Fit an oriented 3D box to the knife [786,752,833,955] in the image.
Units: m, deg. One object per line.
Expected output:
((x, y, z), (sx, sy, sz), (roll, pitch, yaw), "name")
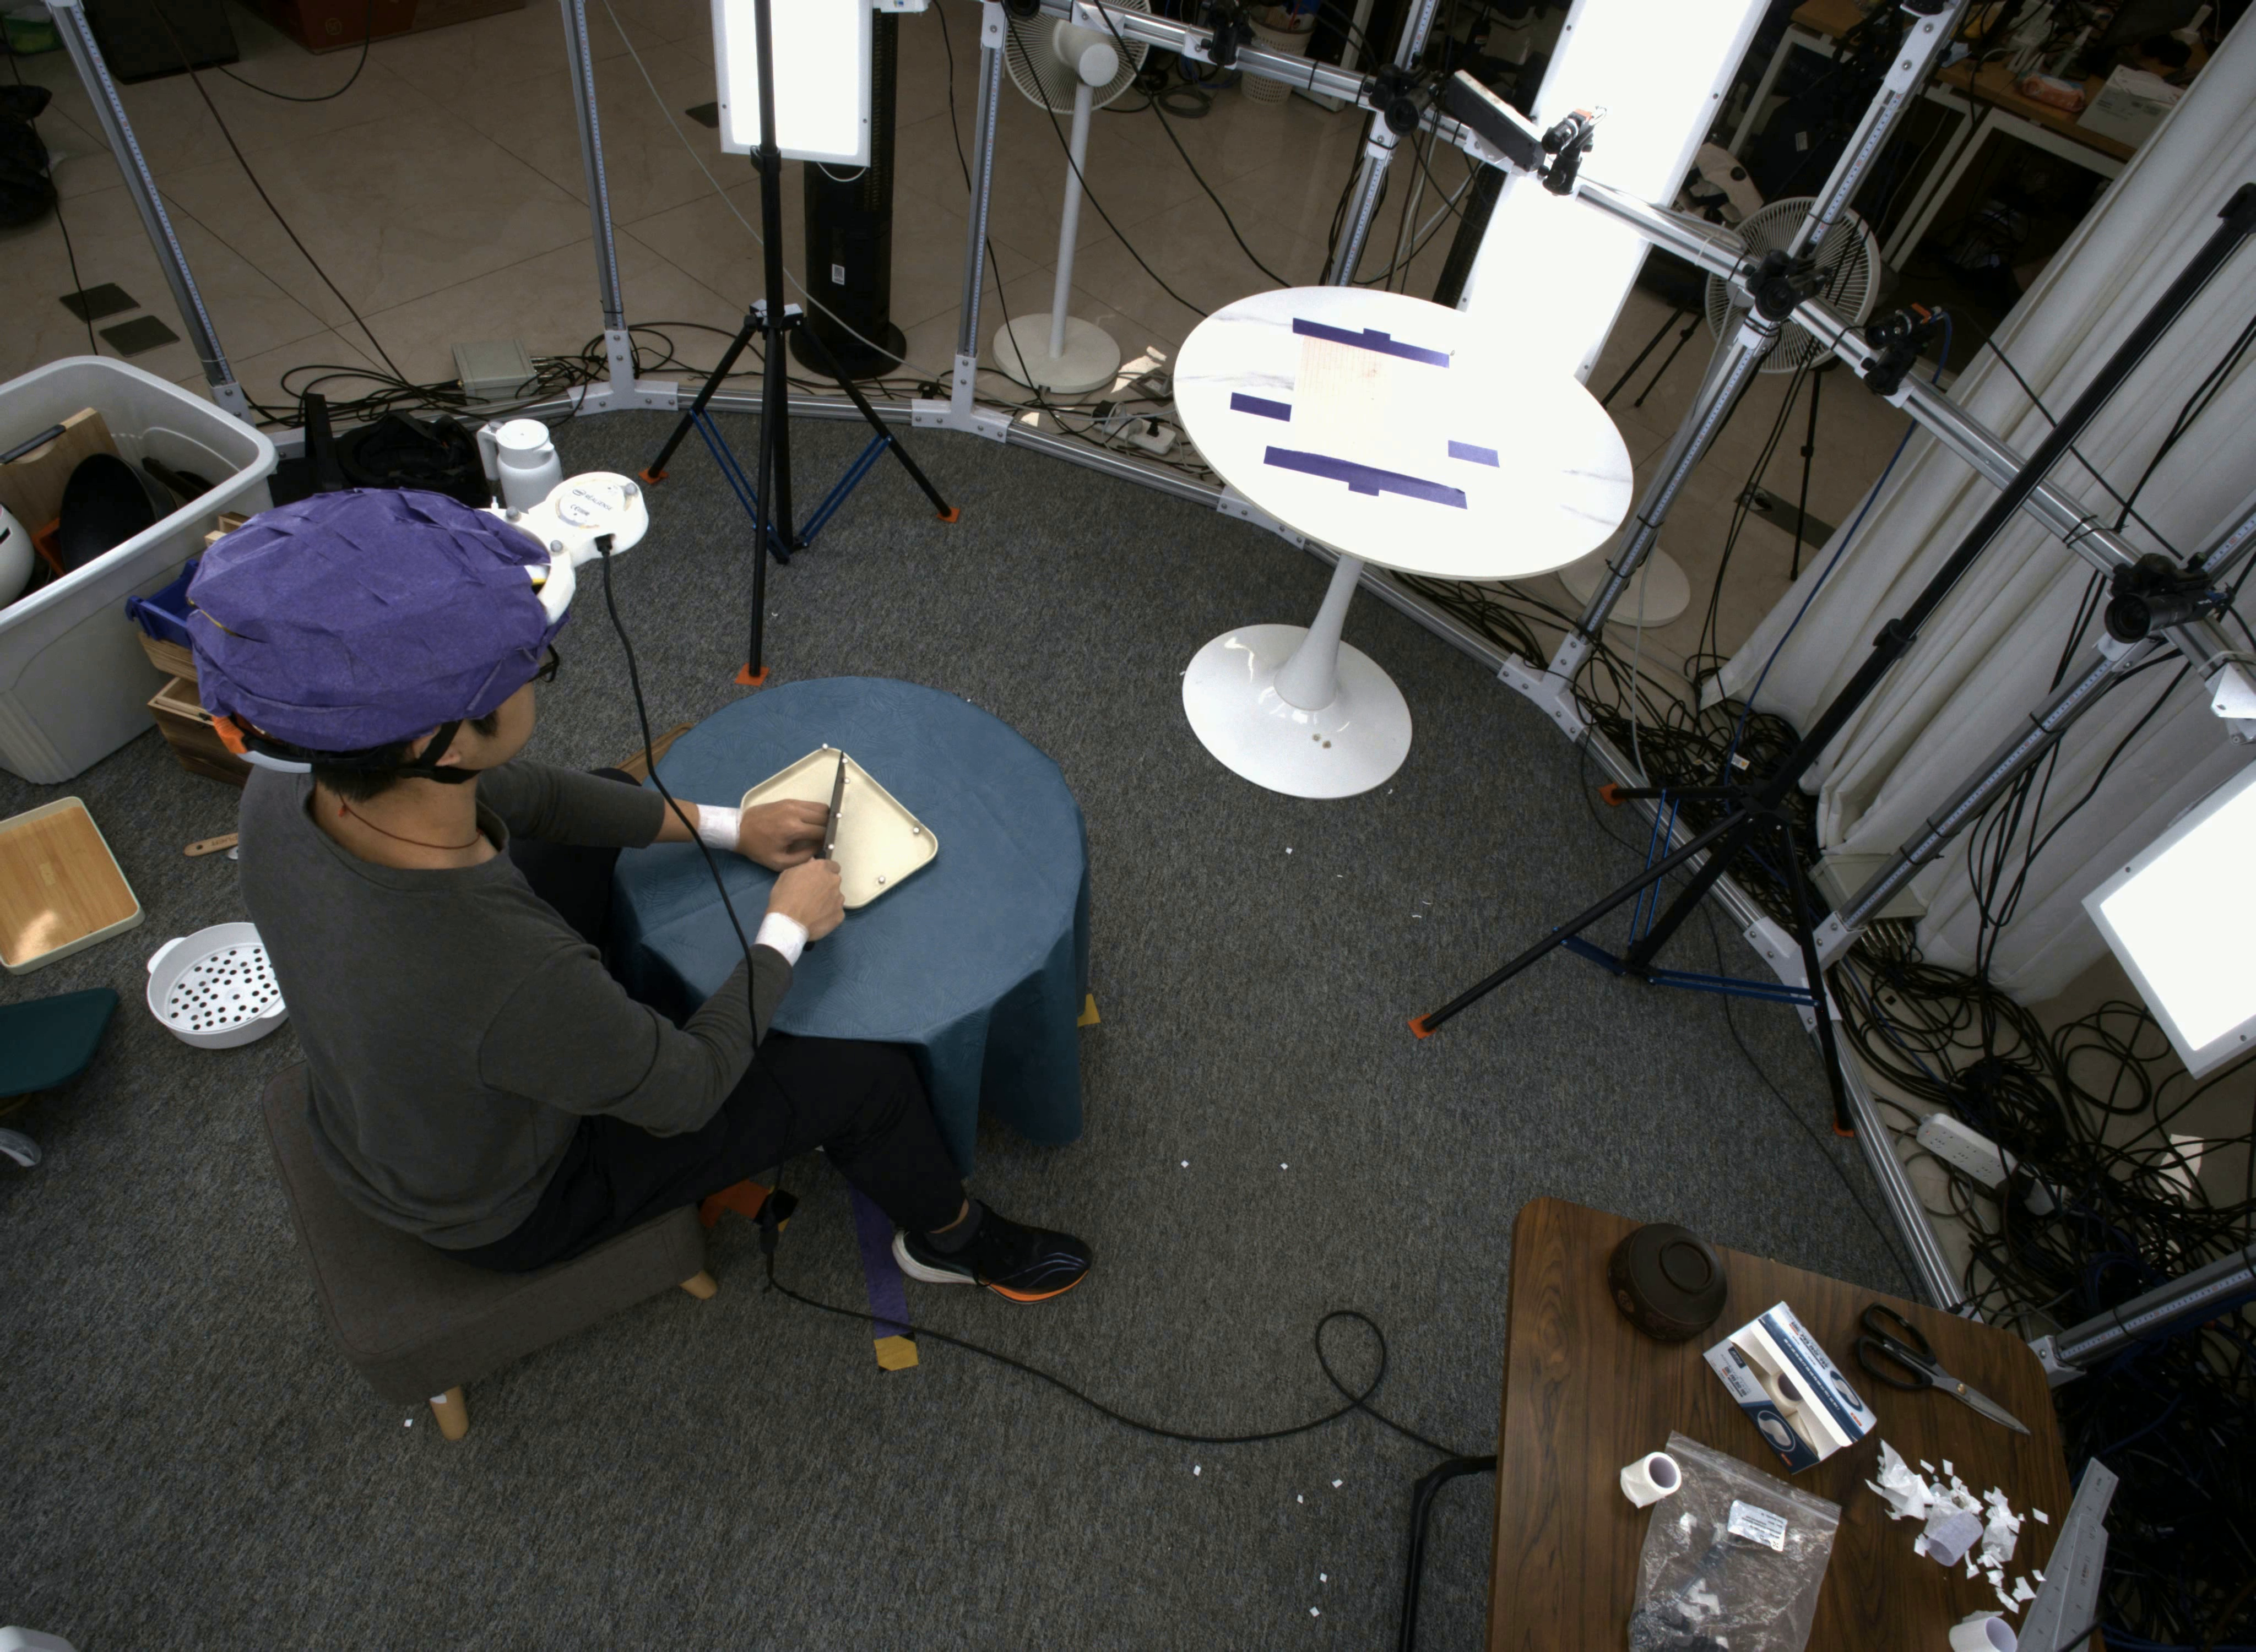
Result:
((-0.403, 0.034, 1.657), (0.021, 0.083, 0.296), (3, 48, -3), "knife")

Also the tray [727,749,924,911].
((-0.402, 0.003, 1.727), (0.234, 0.018, 0.171), (40, 56, 16), "tray")
